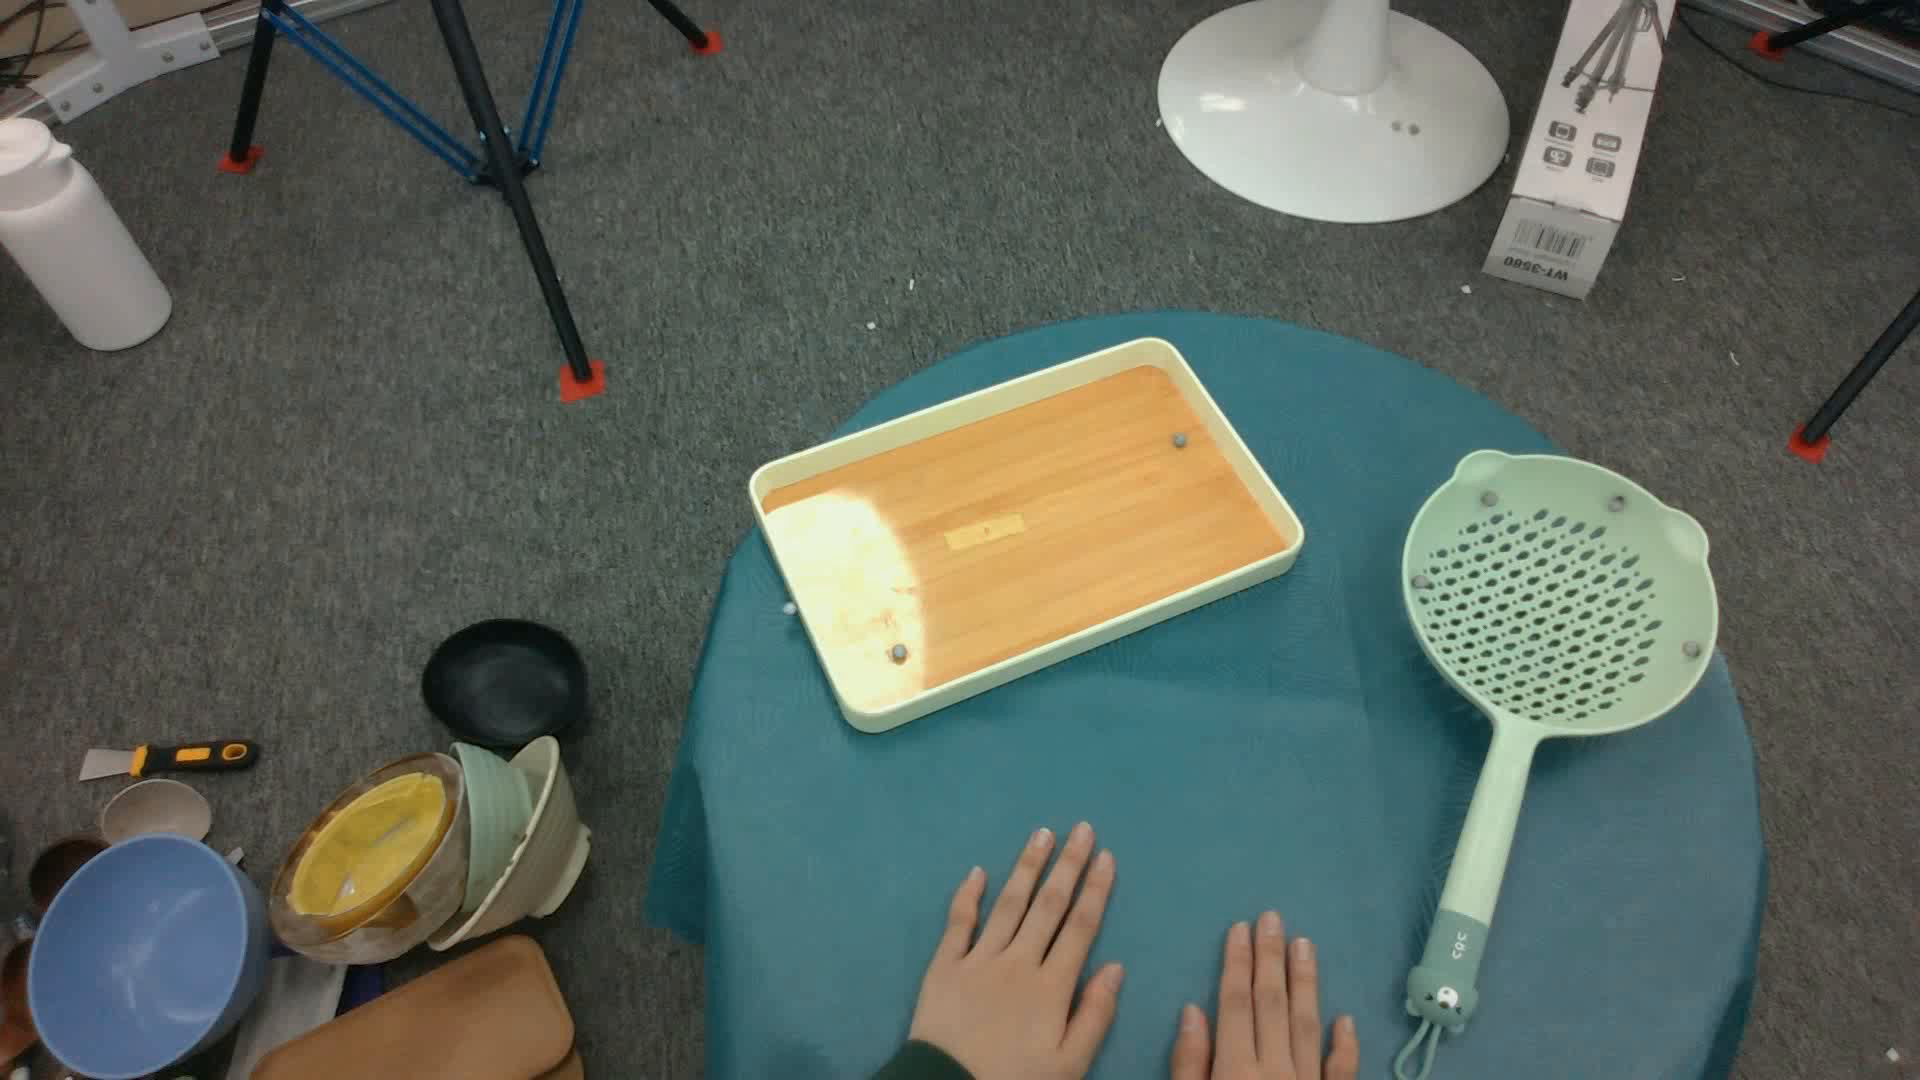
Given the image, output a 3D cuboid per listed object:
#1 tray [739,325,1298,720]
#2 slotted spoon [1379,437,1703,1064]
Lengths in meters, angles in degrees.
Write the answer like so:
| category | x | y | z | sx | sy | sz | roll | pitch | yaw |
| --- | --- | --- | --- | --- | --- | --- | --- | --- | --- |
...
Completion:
| category | x | y | z | sx | sy | sz | roll | pitch | yaw |
| --- | --- | --- | --- | --- | --- | --- | --- | --- | --- |
| tray | 0.034 | -0.020 | 0.843 | 0.301 | 0.027 | 0.192 | -20 | 58 | -14 |
| slotted spoon | 0.289 | 0.104 | 0.743 | 0.169 | 0.075 | 0.360 | 21 | 58 | 13 |
